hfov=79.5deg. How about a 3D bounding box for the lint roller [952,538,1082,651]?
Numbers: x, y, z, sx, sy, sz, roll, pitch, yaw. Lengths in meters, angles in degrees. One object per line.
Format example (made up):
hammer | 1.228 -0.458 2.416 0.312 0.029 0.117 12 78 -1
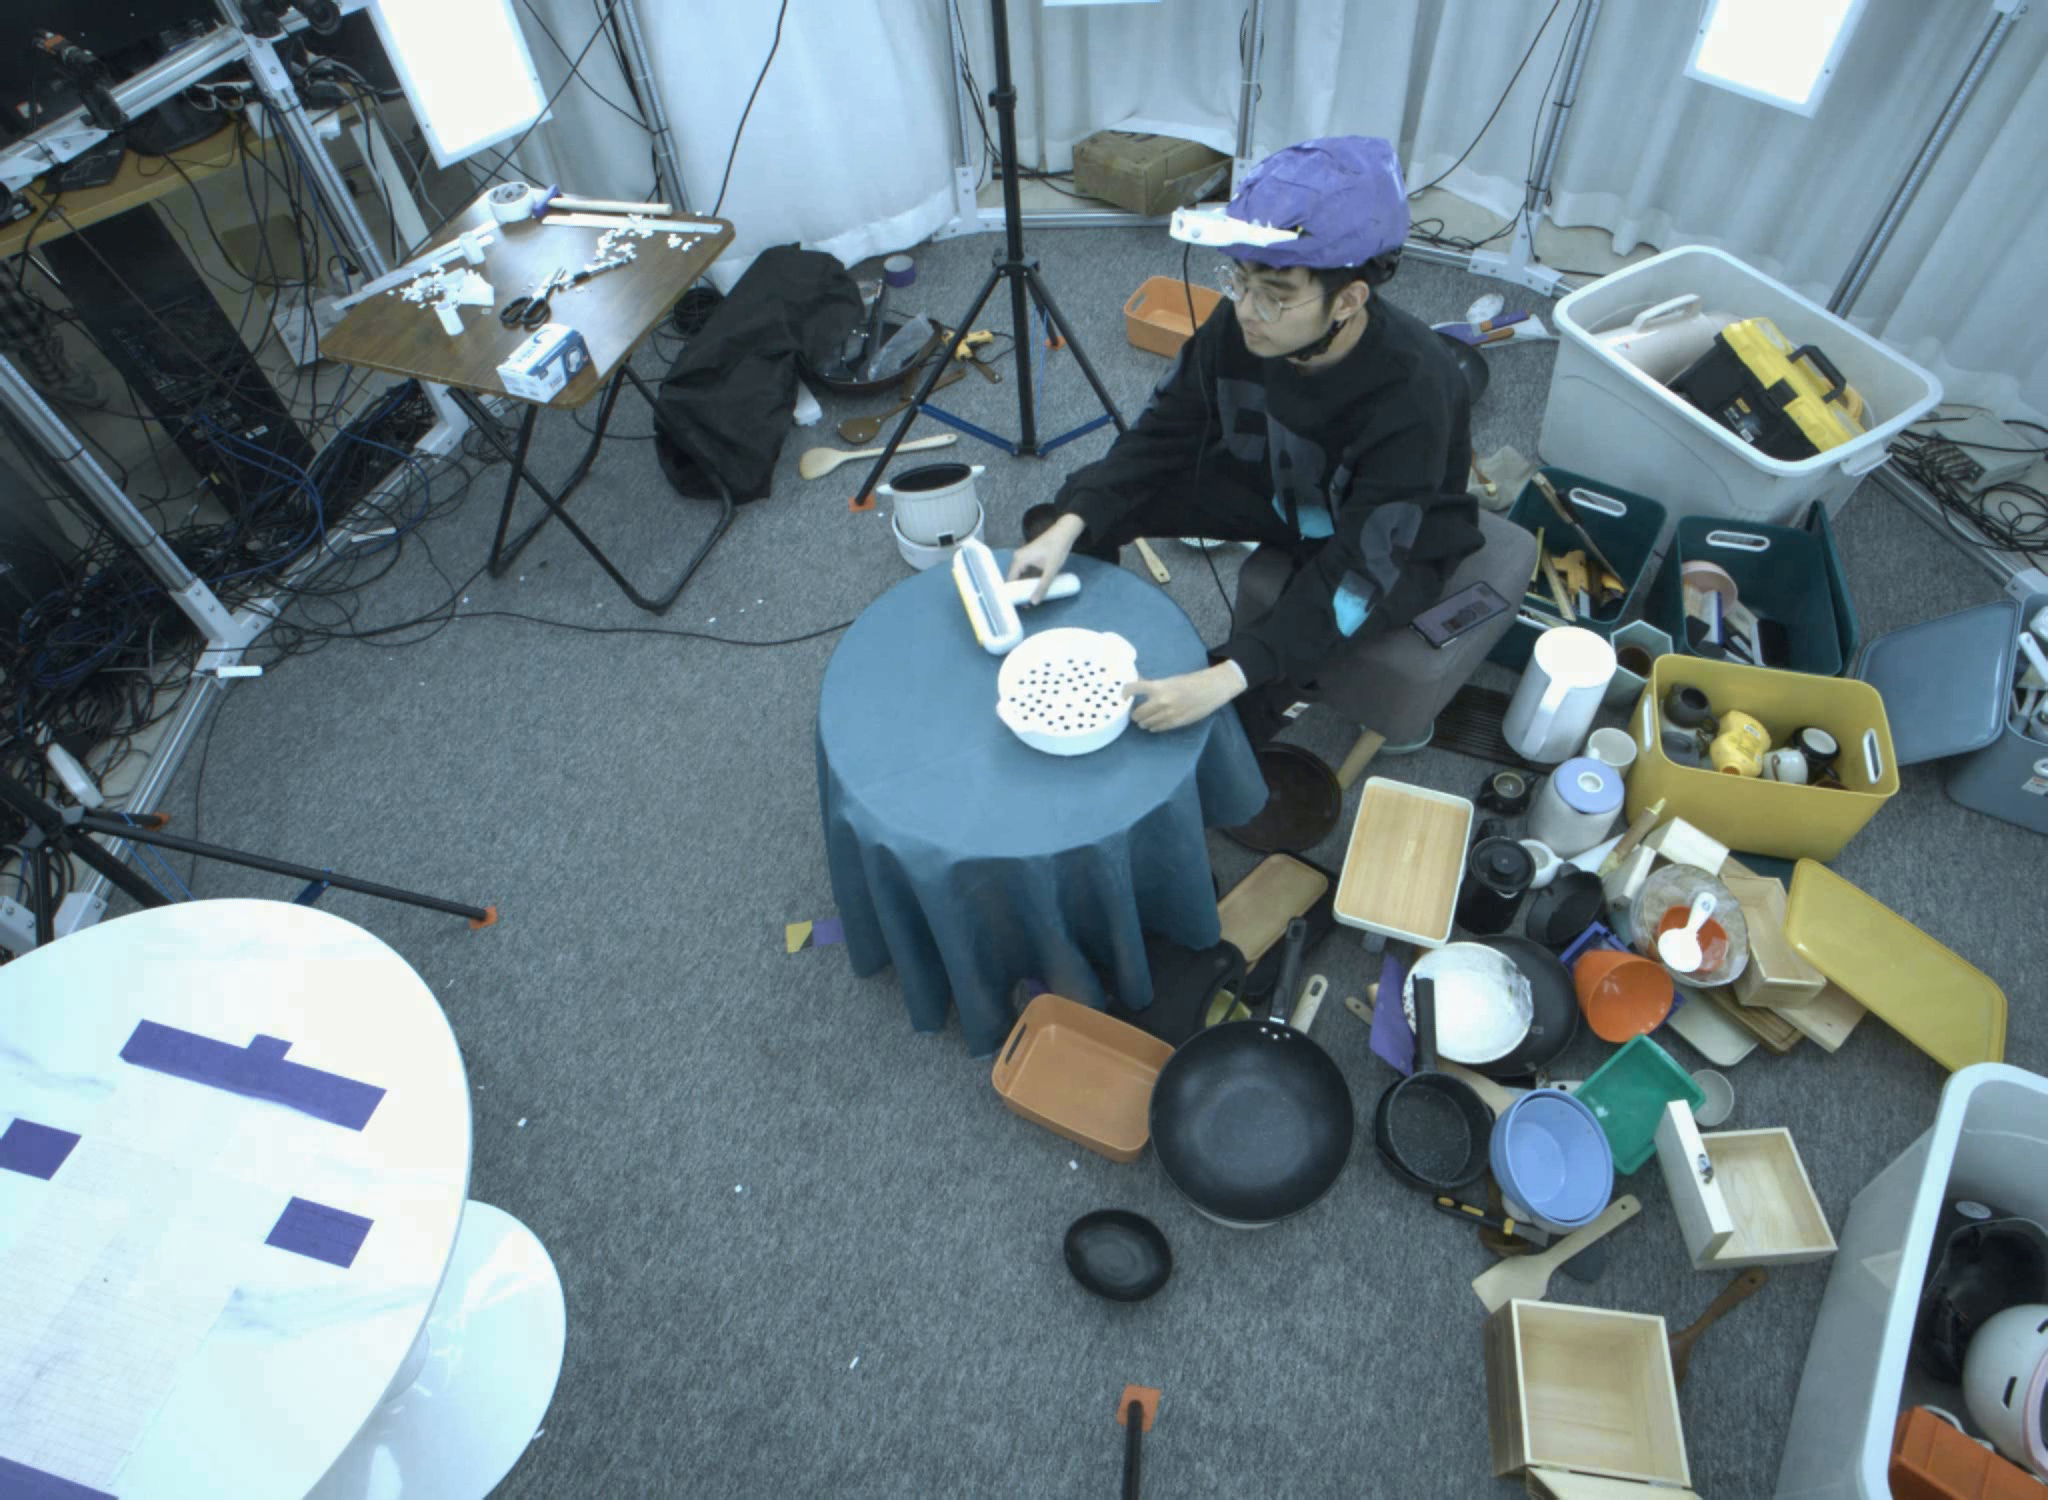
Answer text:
lint roller | -0.003 -0.252 1.918 0.193 0.075 0.190 -14 63 -8

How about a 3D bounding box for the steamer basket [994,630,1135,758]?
steamer basket | 0.059 -0.080 1.799 0.232 0.070 0.198 -33 62 -23
